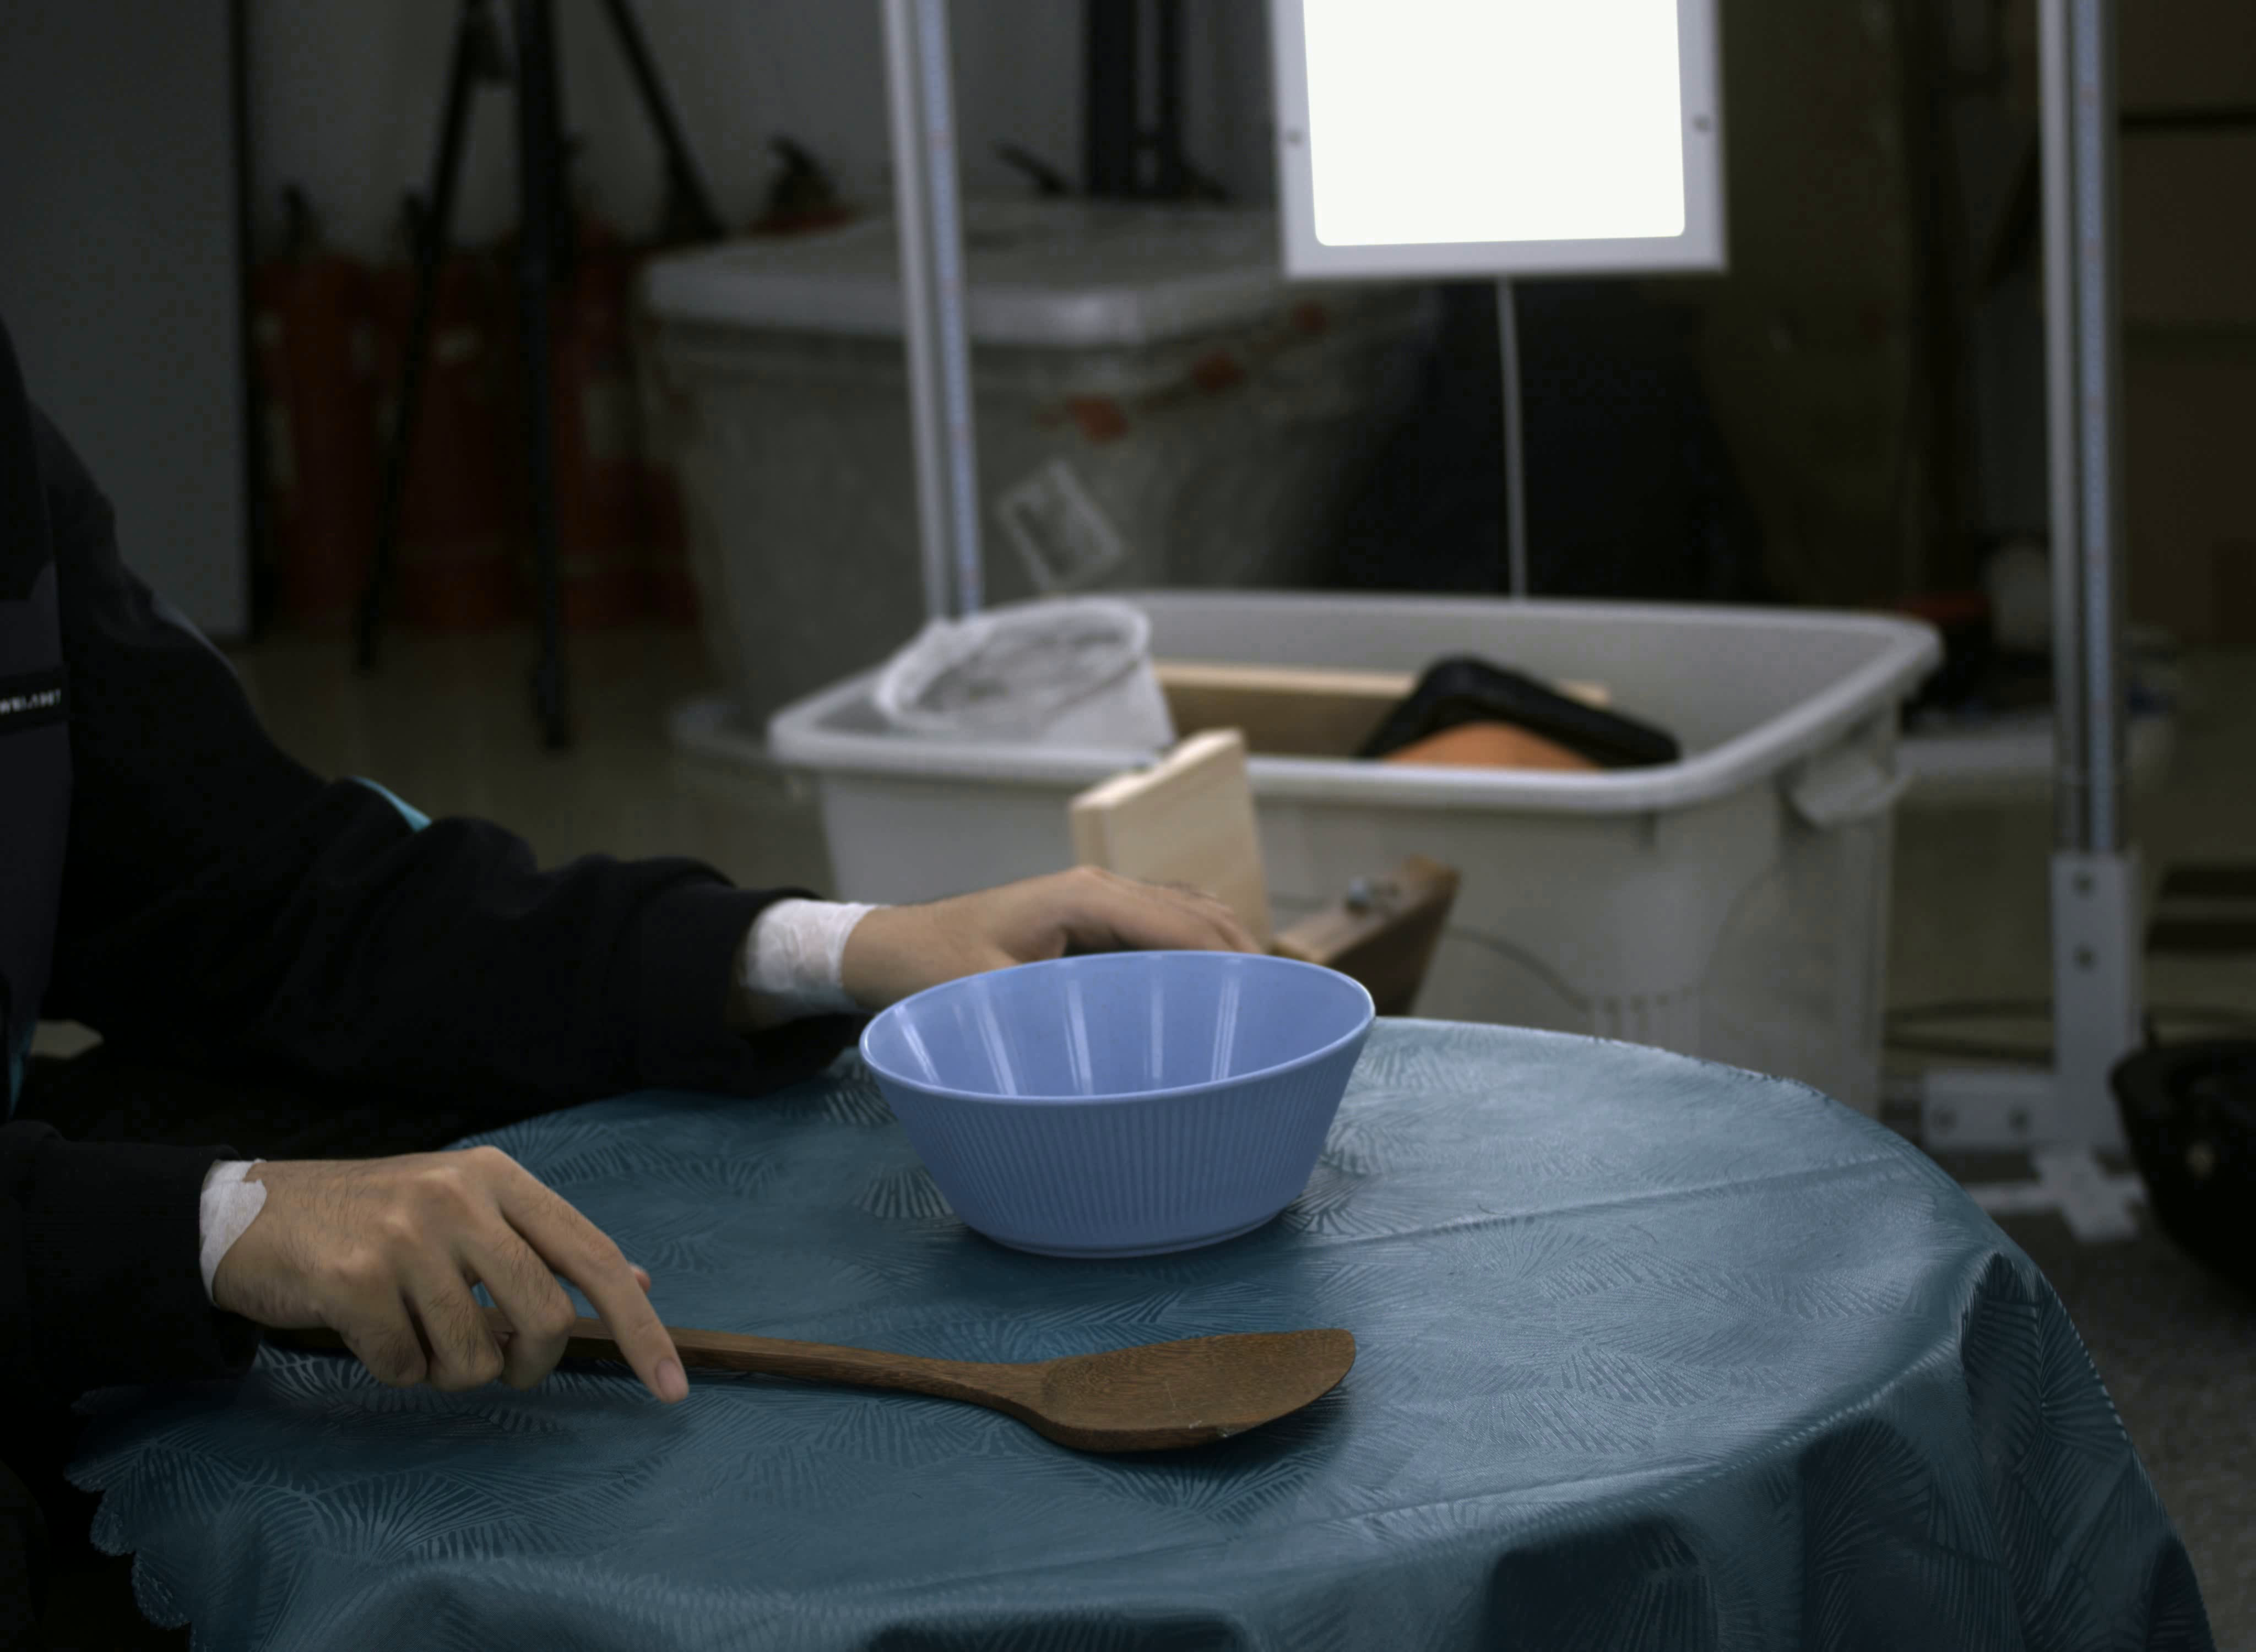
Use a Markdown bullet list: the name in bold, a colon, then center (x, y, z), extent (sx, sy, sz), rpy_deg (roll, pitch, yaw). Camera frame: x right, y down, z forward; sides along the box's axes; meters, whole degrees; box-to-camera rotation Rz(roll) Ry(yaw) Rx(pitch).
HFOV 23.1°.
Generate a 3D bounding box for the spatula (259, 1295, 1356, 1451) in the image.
- **spatula**: center (-0.112, 0.167, 1.742), extent (0.392, 0.016, 0.094), rpy_deg (2, 15, 27)

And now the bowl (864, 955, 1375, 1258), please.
- **bowl**: center (0.000, 0.098, 1.870), extent (0.175, 0.070, 0.176), rpy_deg (-6, 13, 0)
